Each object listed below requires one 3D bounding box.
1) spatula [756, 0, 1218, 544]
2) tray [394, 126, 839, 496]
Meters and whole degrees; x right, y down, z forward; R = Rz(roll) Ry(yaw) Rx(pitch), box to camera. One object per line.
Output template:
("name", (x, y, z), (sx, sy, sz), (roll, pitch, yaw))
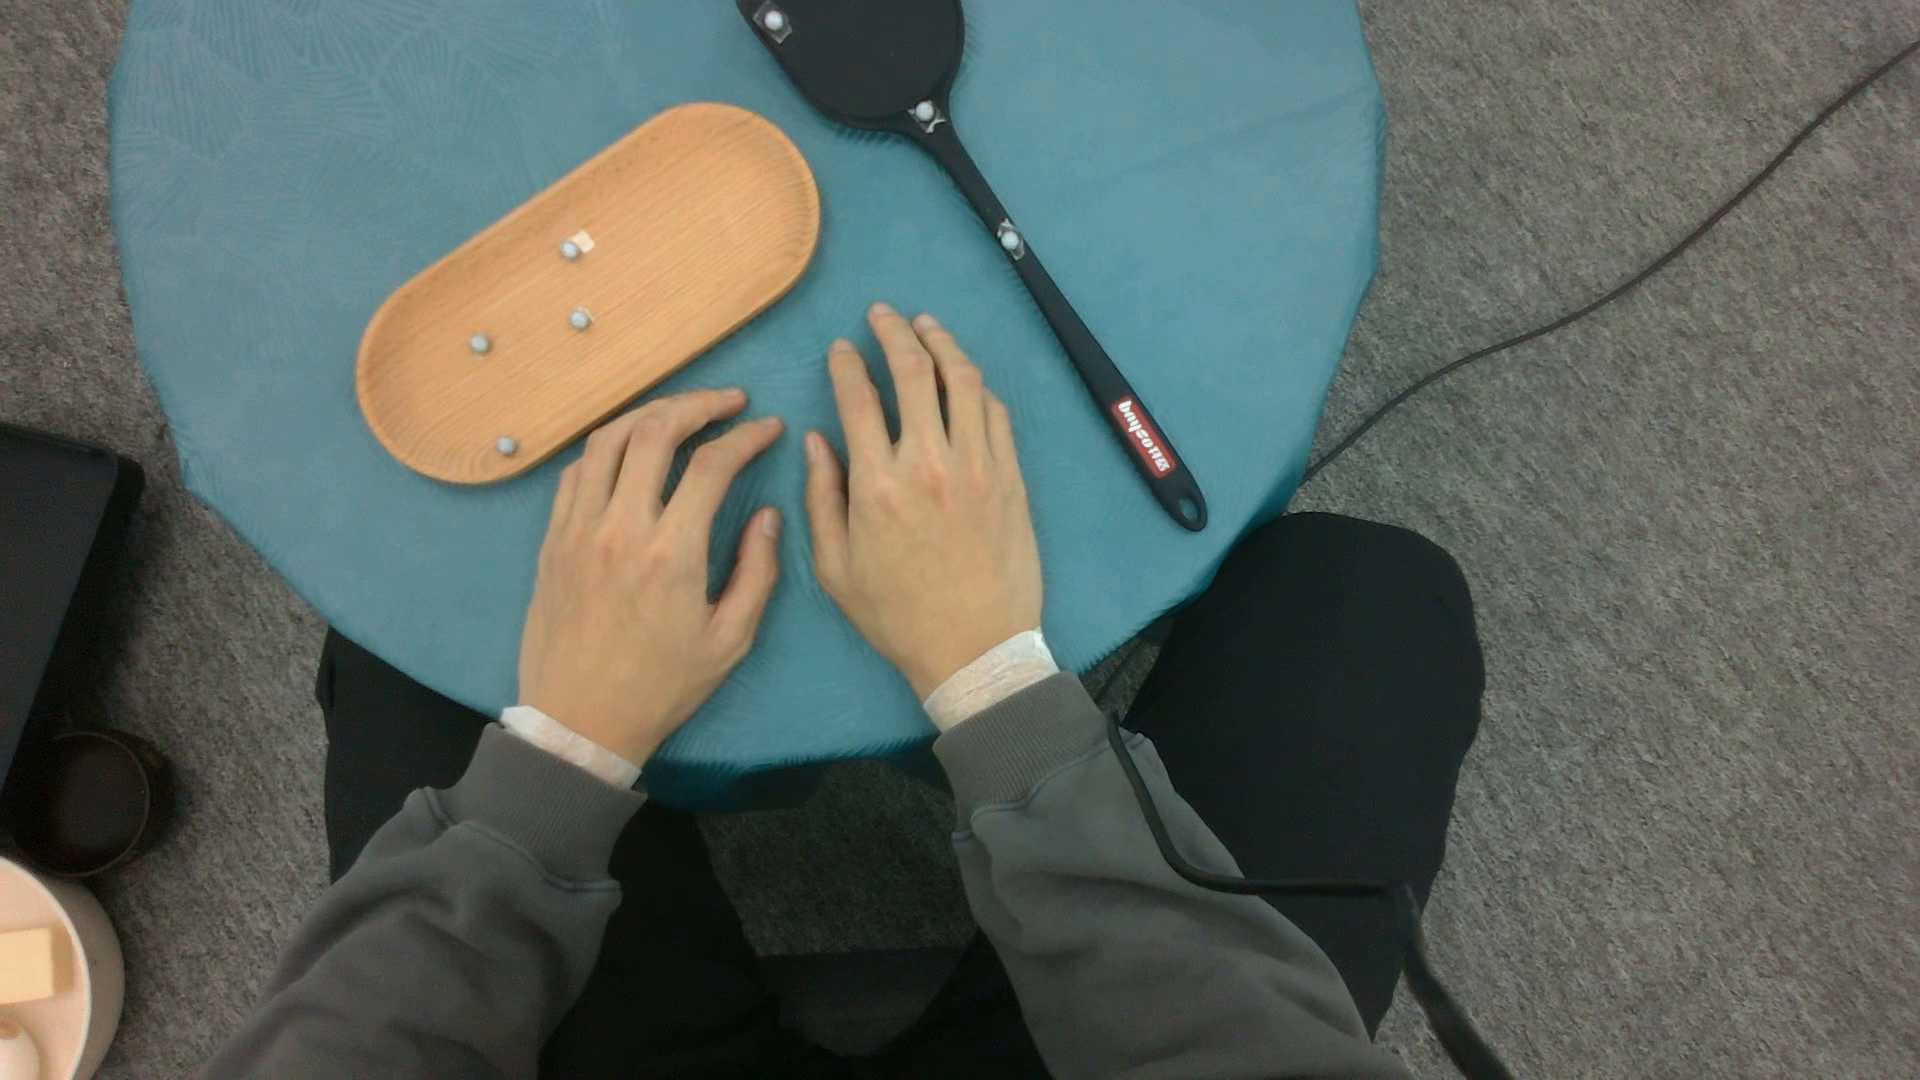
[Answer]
("spatula", (0.029, -0.135, 0.651), (0.100, 0.040, 0.326), (-34, 85, -3))
("tray", (-0.161, -0.109, 0.654), (0.231, 0.020, 0.102), (-36, 86, -6))
